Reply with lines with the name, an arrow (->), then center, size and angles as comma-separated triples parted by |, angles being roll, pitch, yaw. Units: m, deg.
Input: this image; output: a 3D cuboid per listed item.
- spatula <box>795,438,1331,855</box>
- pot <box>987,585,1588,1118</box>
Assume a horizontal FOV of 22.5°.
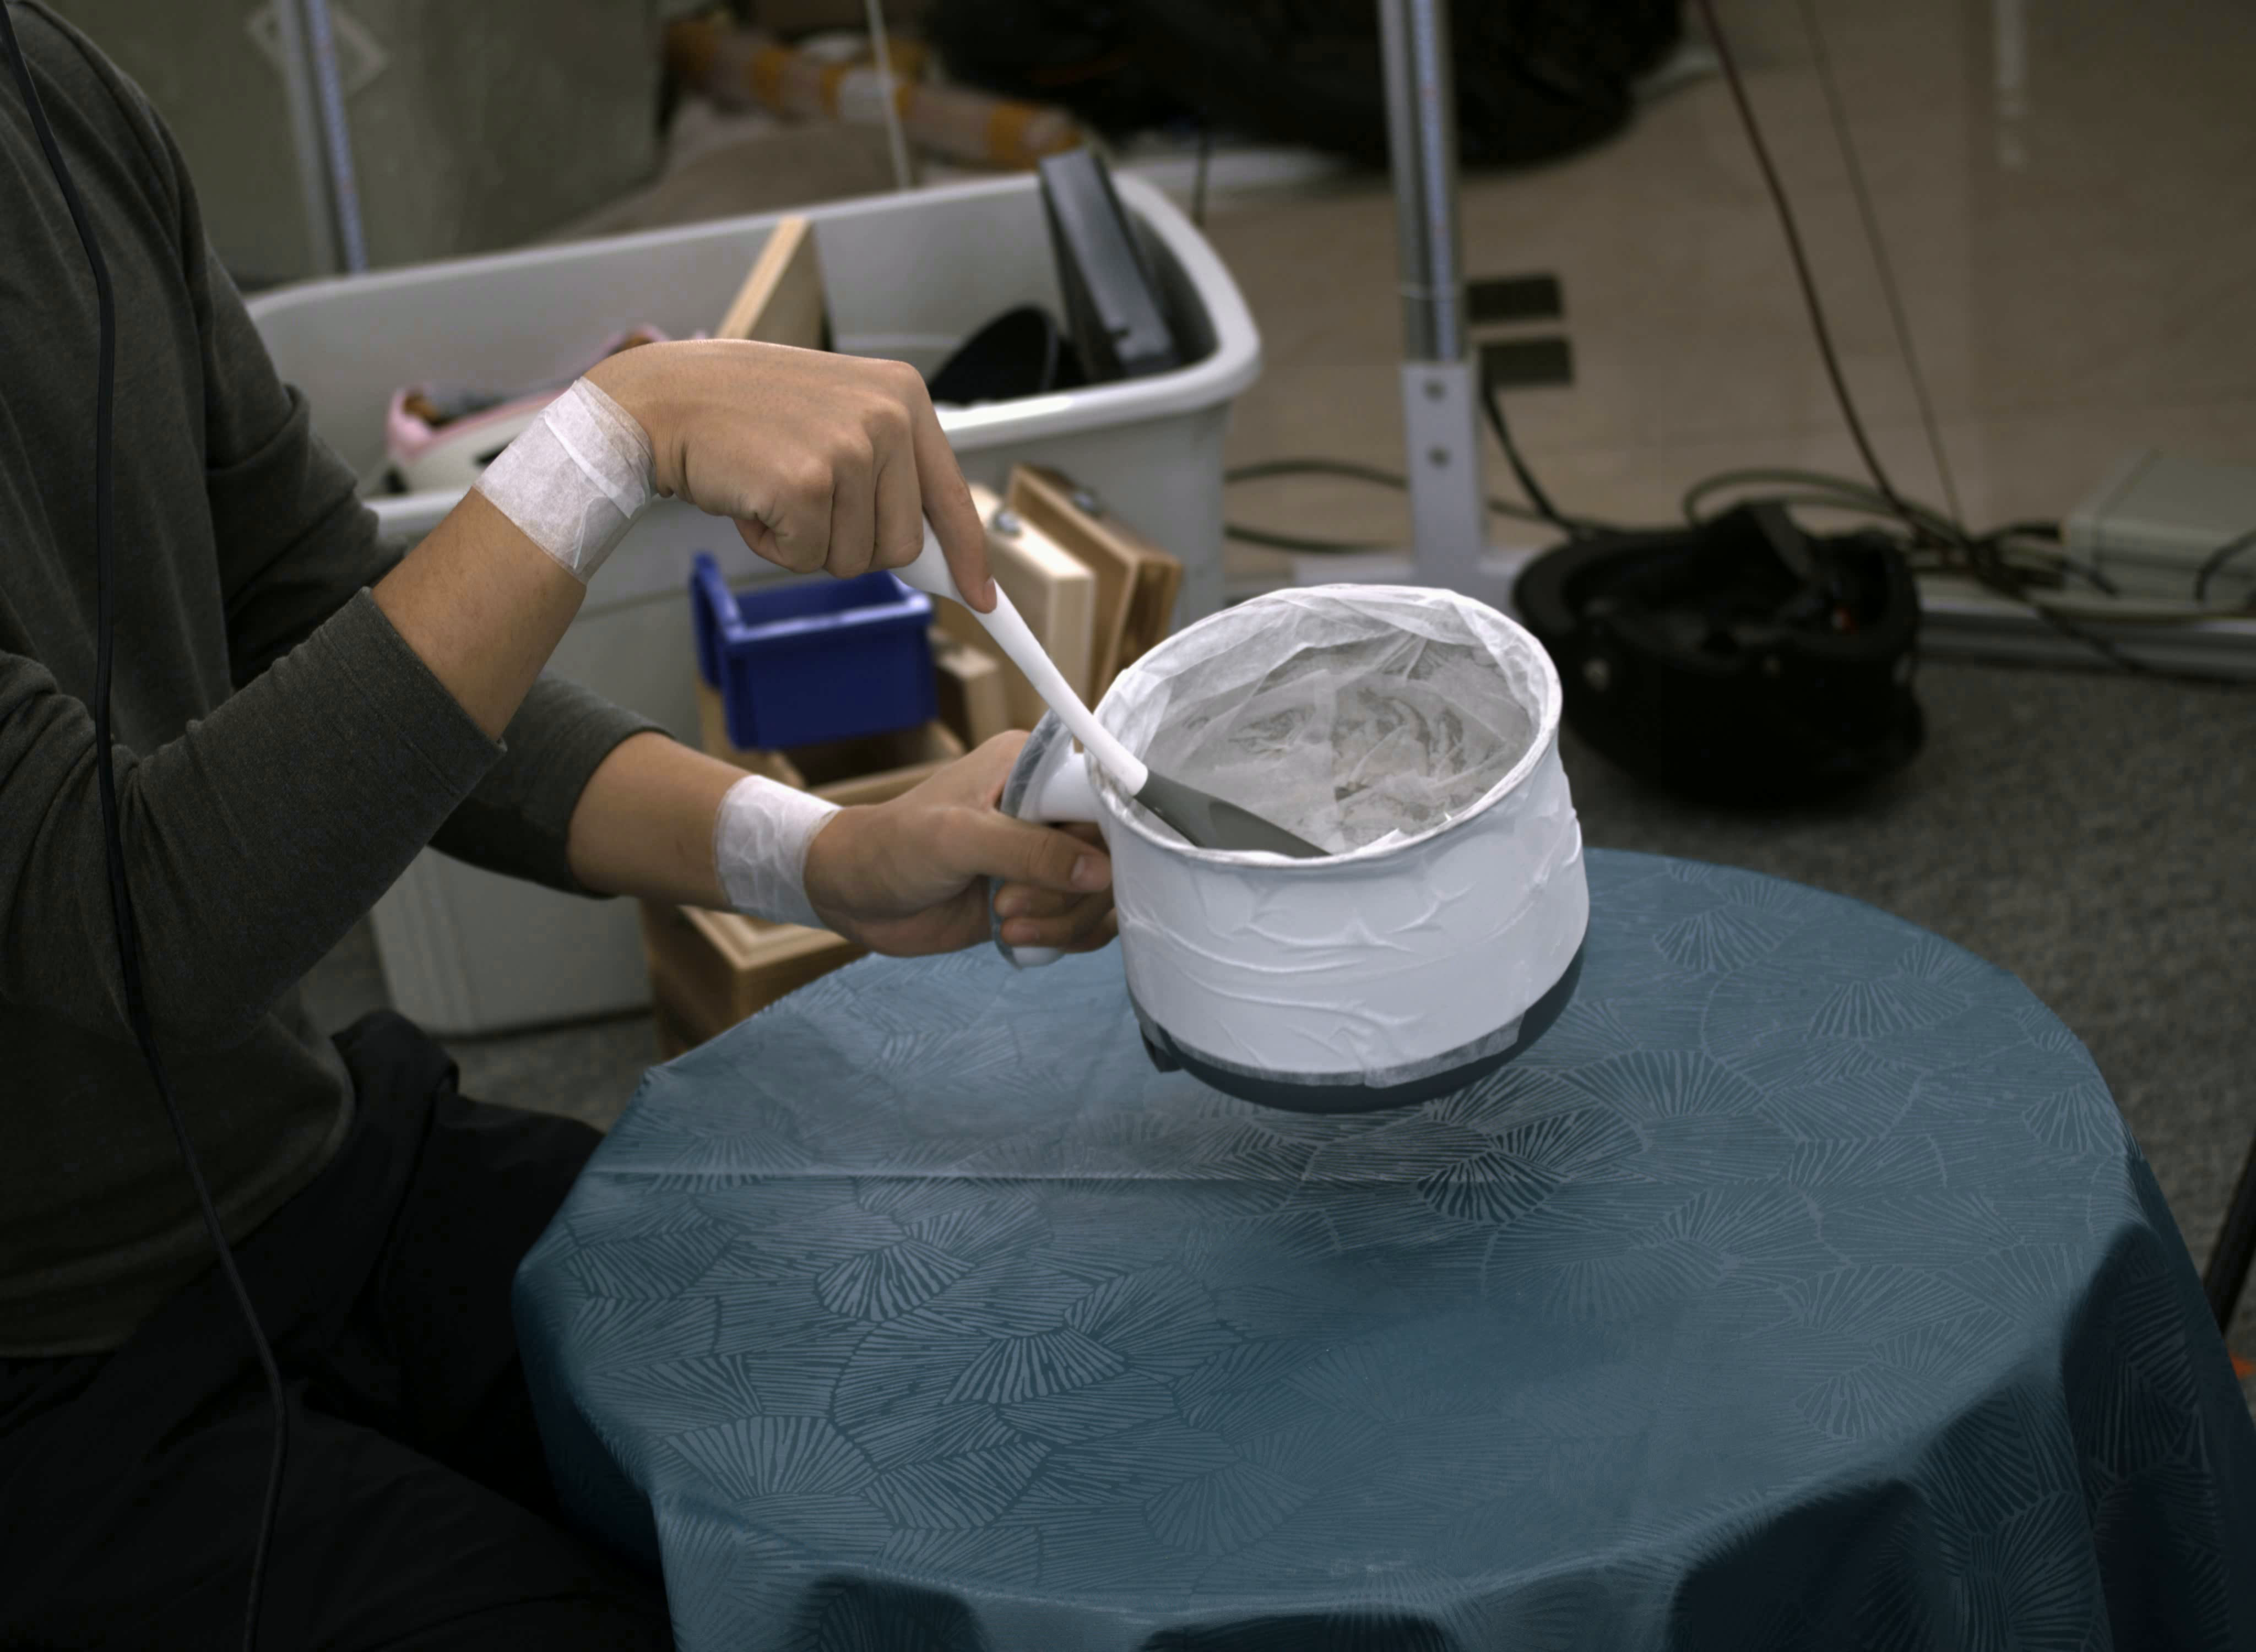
spatula -> -0.011, -0.042, 2.056 | 0.032, 0.290, 0.057 | -41, 30, 16
pot -> 0.054, 0.012, 2.124 | 0.233, 0.139, 0.176 | 2, 38, 17
